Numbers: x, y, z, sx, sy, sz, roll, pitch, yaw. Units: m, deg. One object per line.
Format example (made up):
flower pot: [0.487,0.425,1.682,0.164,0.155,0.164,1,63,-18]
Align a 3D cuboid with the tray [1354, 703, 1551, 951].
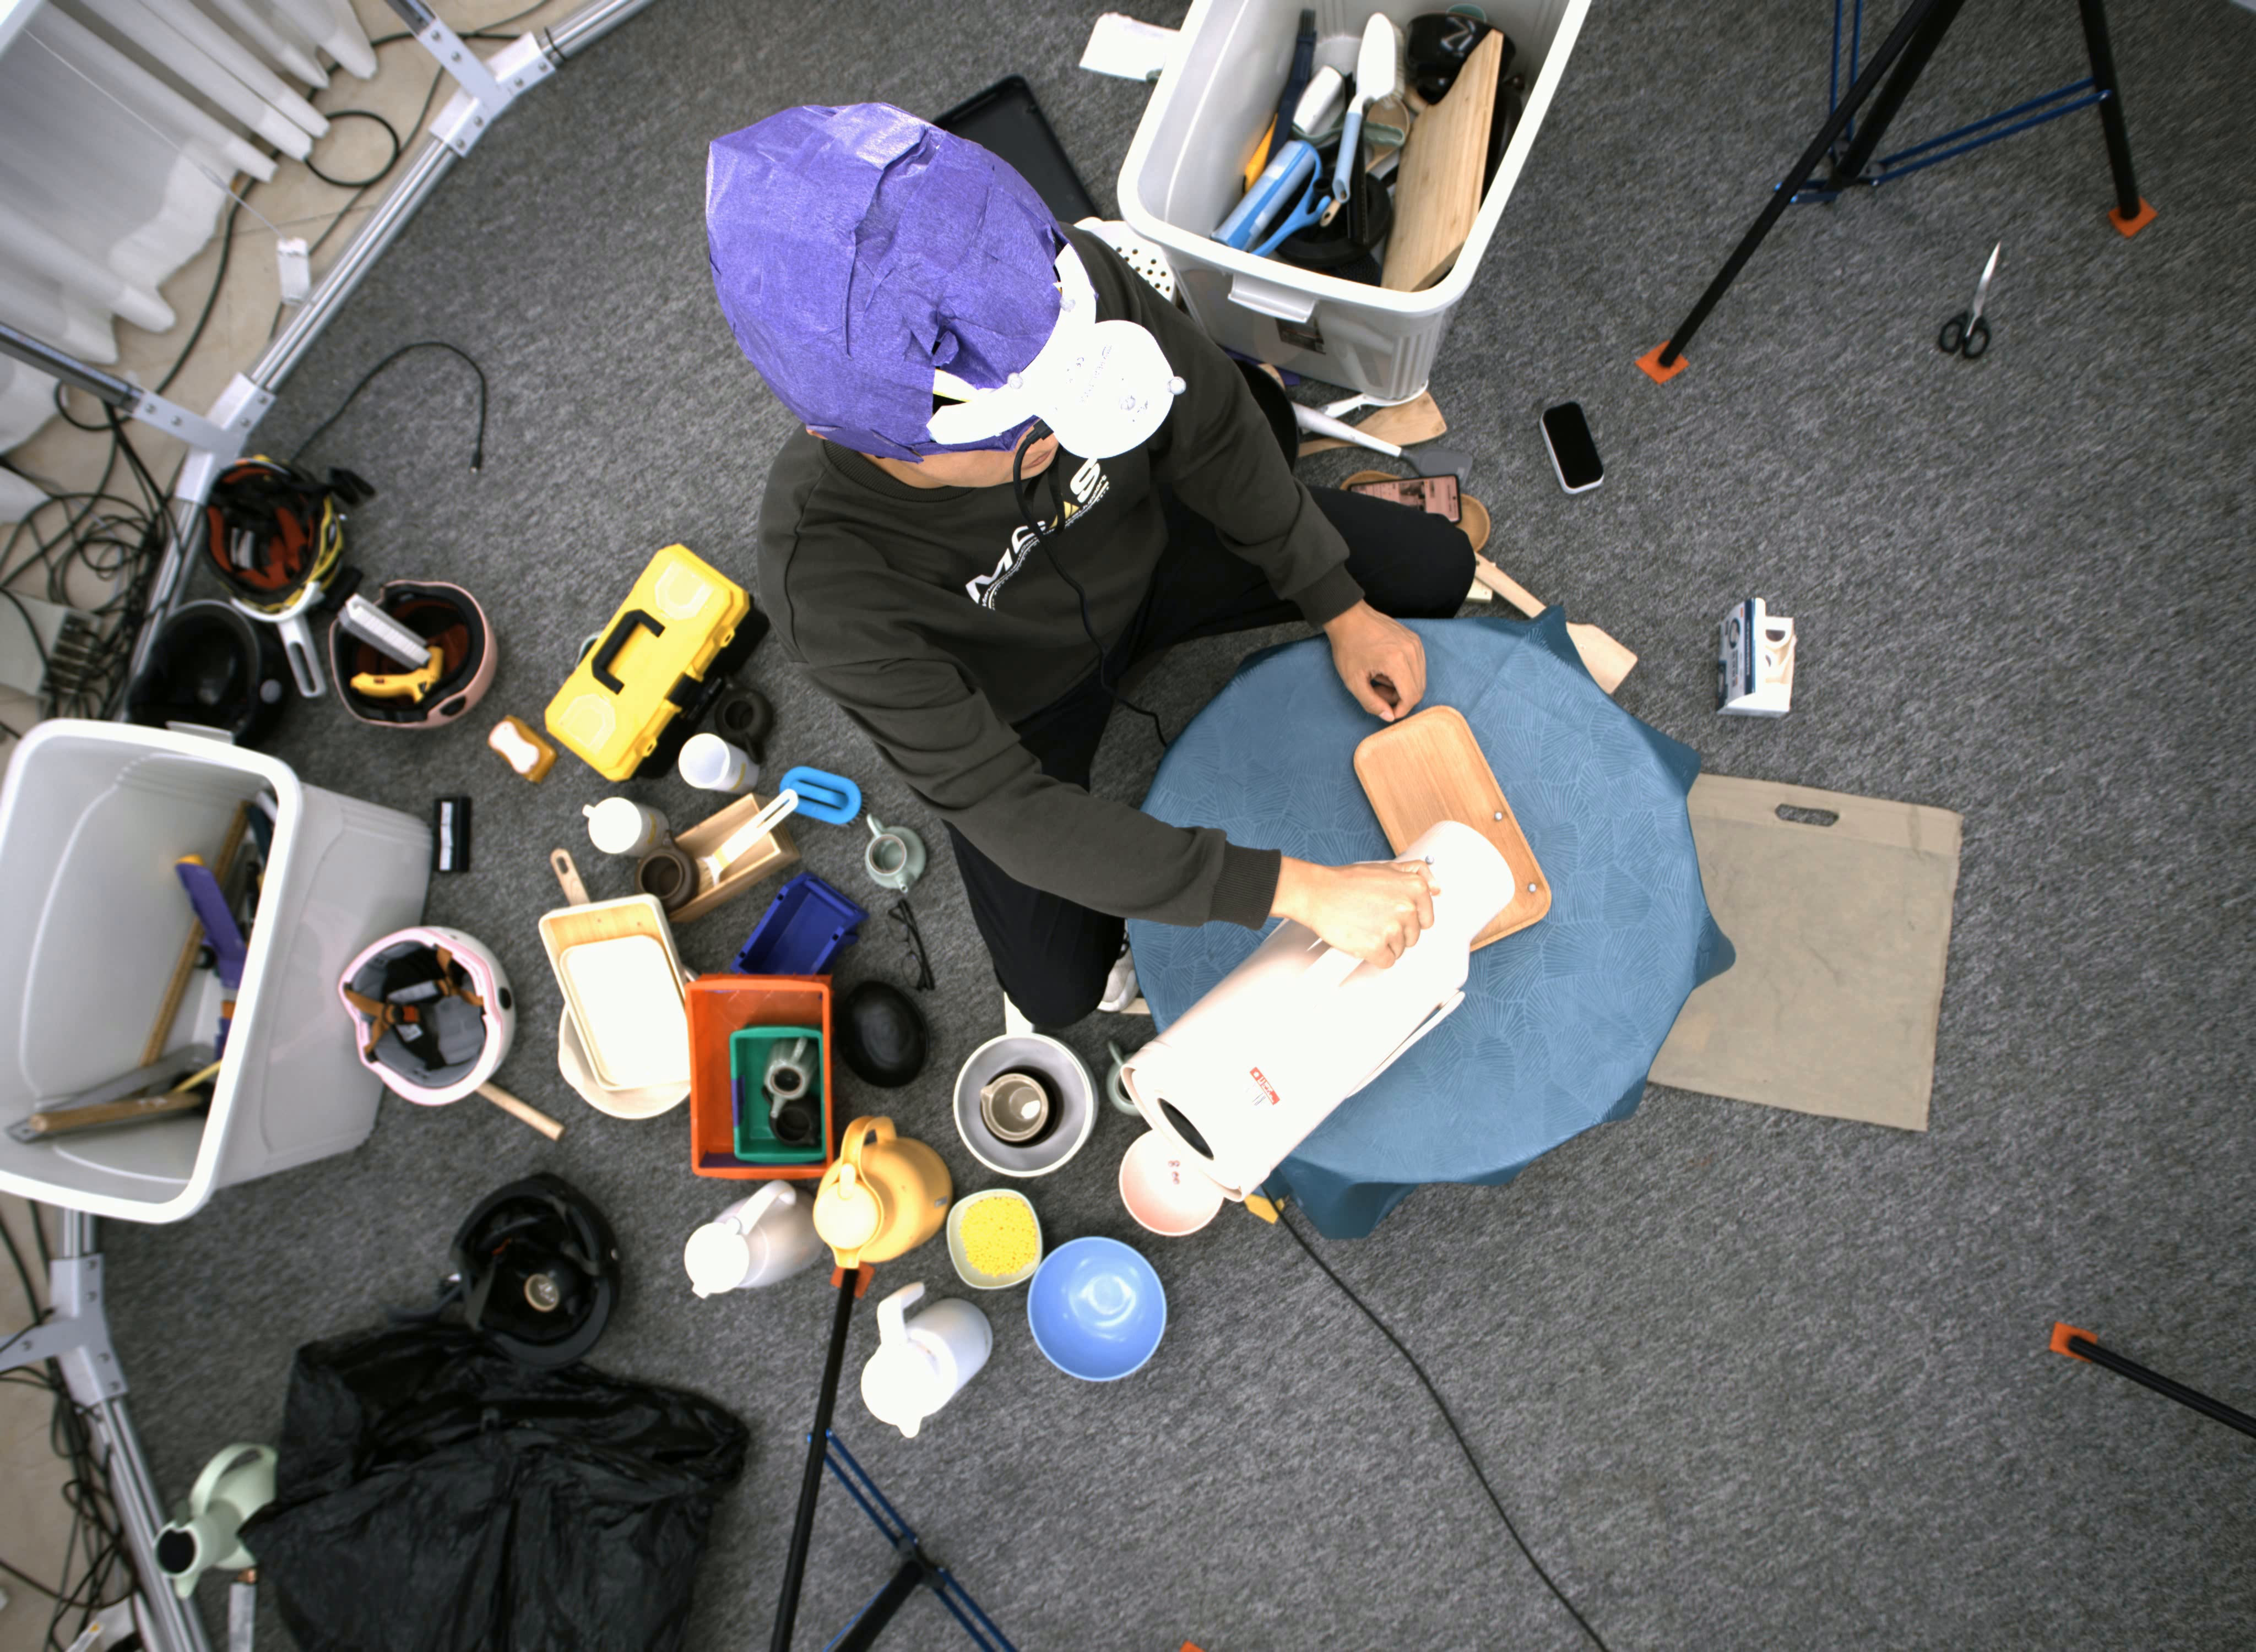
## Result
tray: [0.339,-0.001,1.443,0.131,0.023,0.249,-24,82,6]

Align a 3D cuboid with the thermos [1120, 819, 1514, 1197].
thermos: [0.190,0.145,1.281,0.401,0.211,0.174,-38,71,-16]
